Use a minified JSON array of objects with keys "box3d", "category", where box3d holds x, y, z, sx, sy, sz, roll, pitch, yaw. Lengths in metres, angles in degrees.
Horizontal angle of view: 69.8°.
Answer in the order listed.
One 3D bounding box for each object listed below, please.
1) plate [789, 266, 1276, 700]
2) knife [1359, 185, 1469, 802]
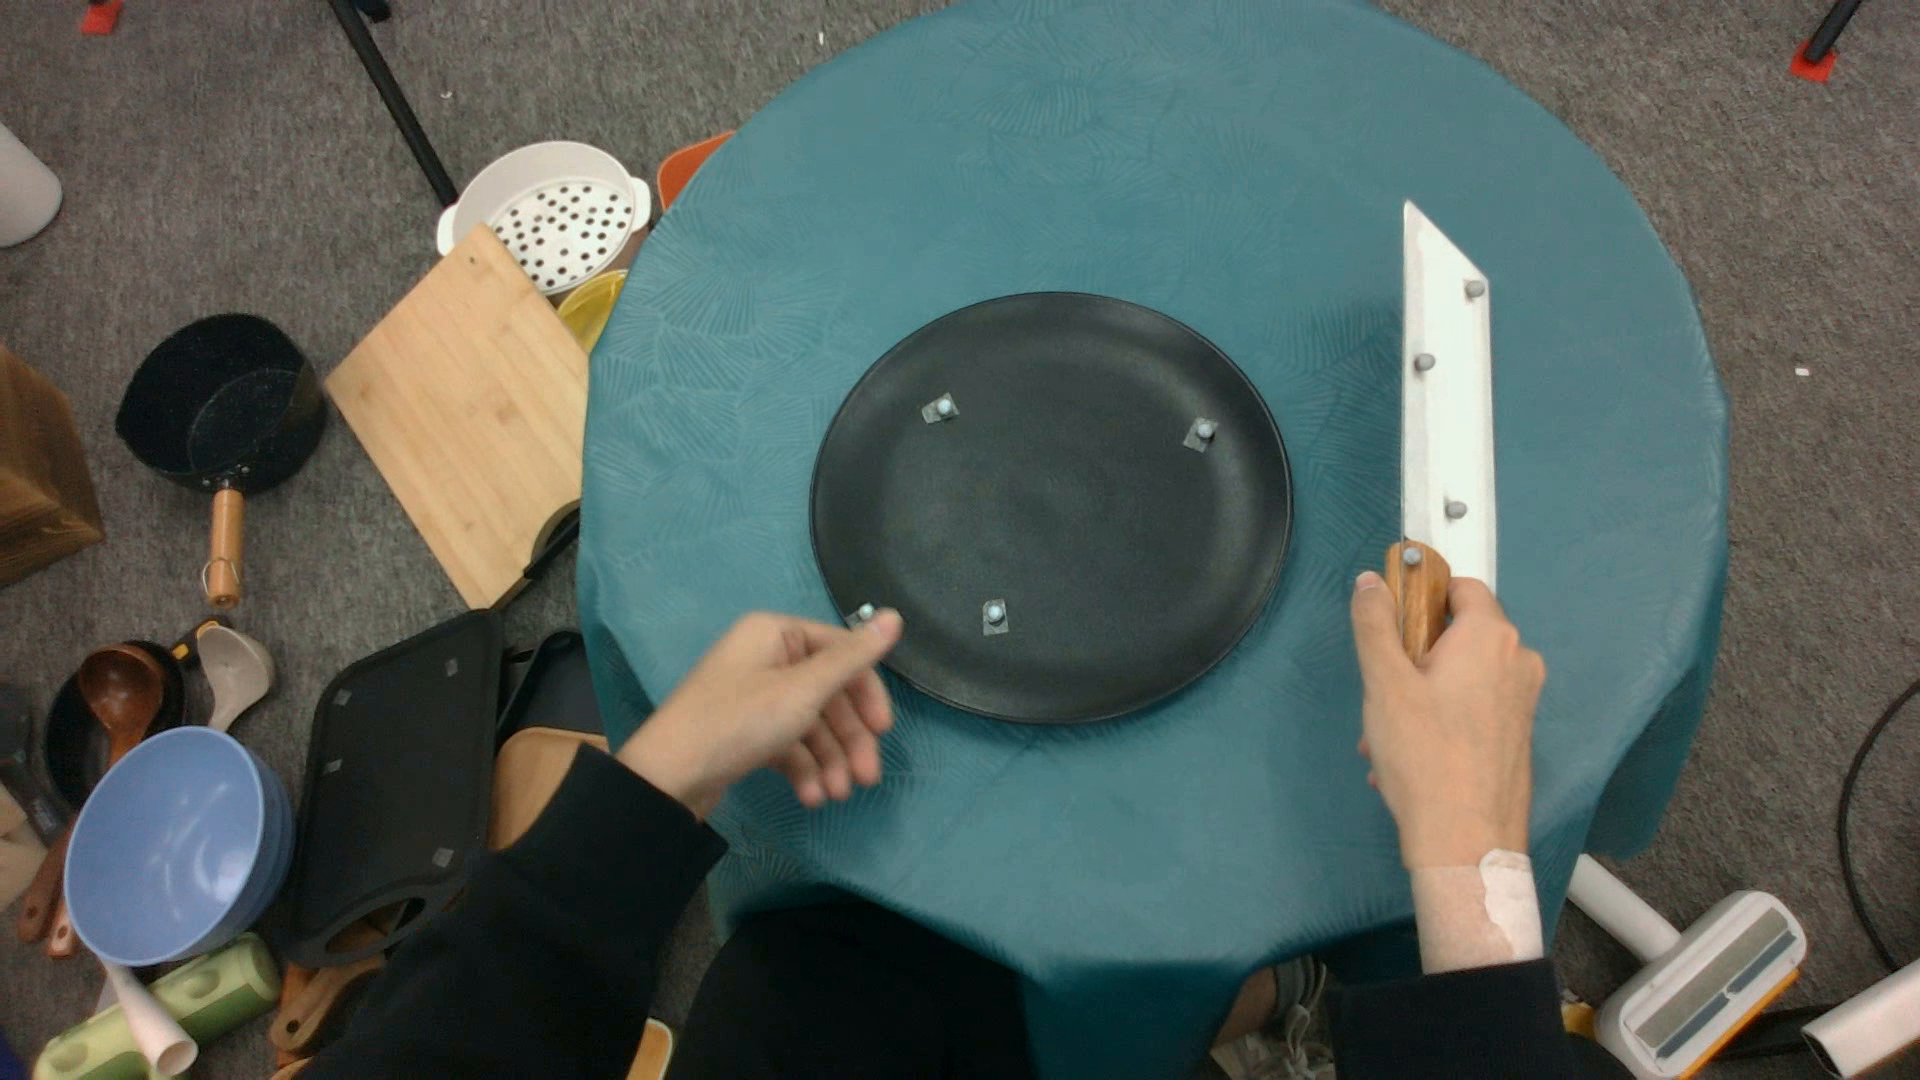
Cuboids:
[{"box3d":[0.035,-0.033,0.698,0.244,0.023,0.245,-2,65,3],"category":"plate"},{"box3d":[0.218,-0.023,0.650,0.021,0.093,0.307,-14,61,42],"category":"knife"}]
